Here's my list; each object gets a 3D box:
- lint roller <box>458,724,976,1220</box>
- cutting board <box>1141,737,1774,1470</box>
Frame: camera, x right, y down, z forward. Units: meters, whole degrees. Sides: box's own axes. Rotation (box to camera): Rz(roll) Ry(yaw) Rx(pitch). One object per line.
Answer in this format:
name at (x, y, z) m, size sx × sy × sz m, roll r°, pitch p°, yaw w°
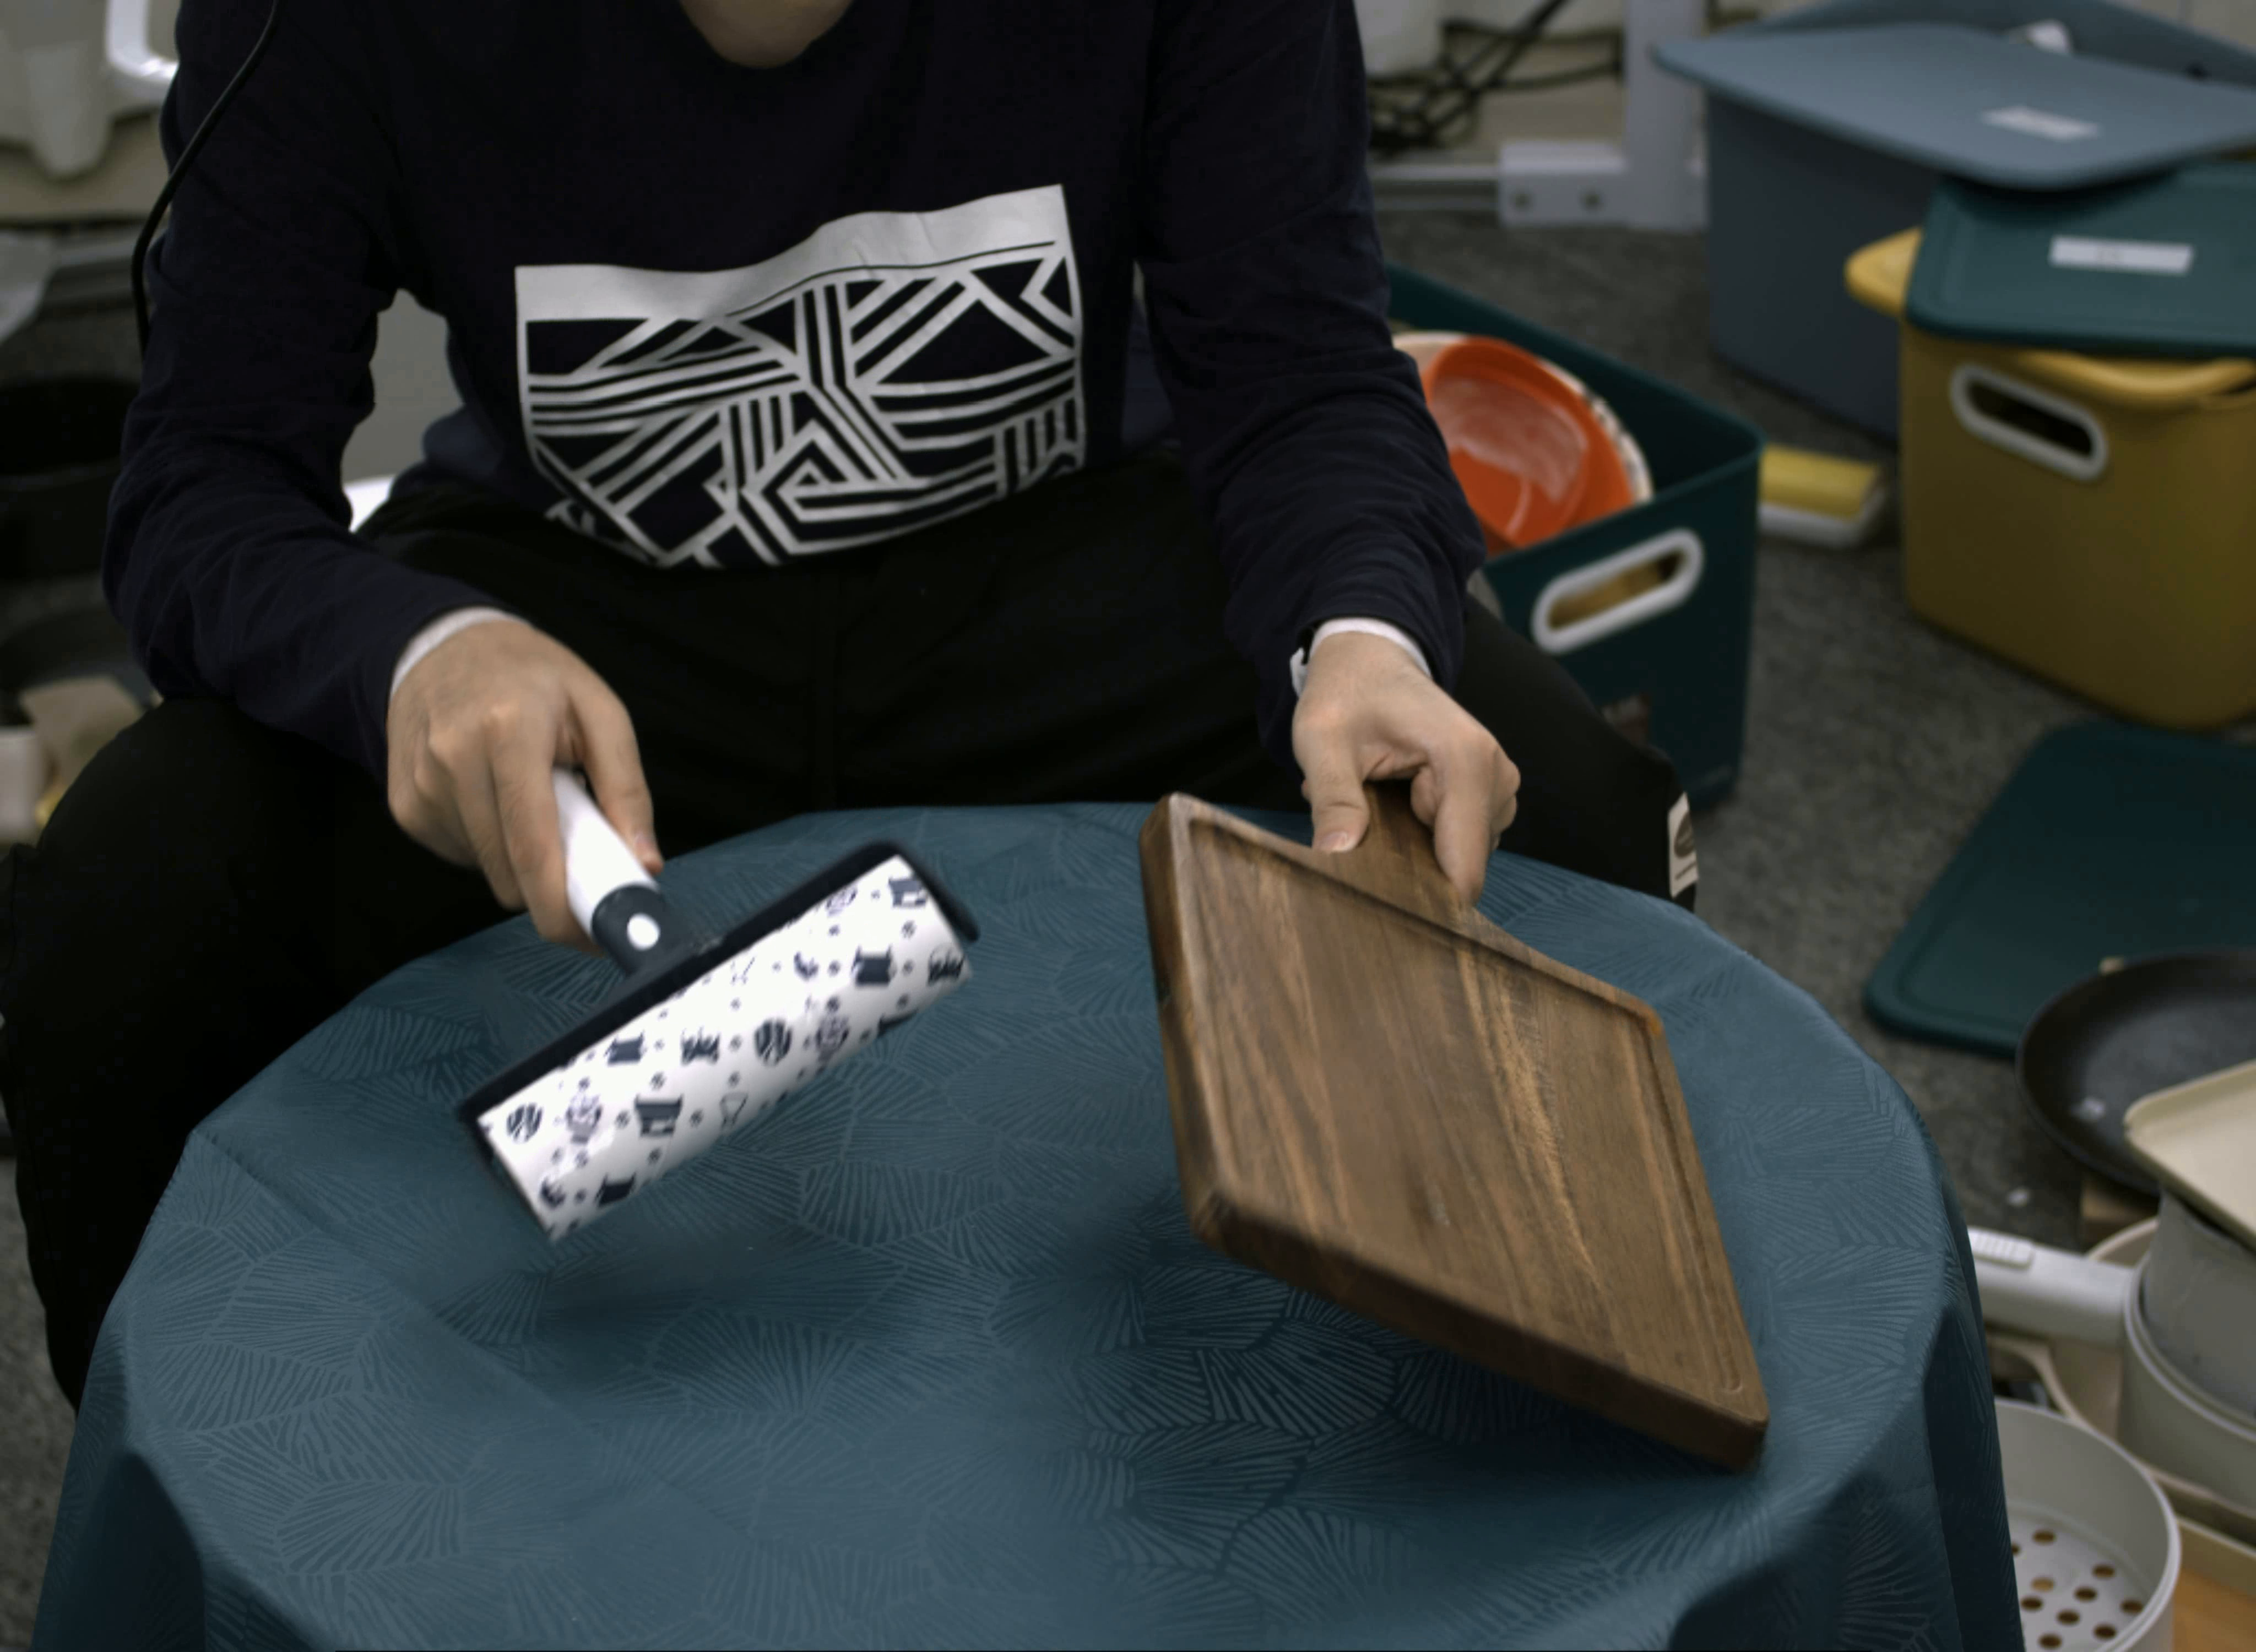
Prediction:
lint roller at (-0.173, 0.021, 1.884) m, size 0.177 × 0.050 × 0.249 m, roll -33°, pitch 37°, yaw -10°
cutting board at (0.097, 0.065, 1.821) m, size 0.200 × 0.023 × 0.357 m, roll 26°, pitch 24°, yaw -17°
